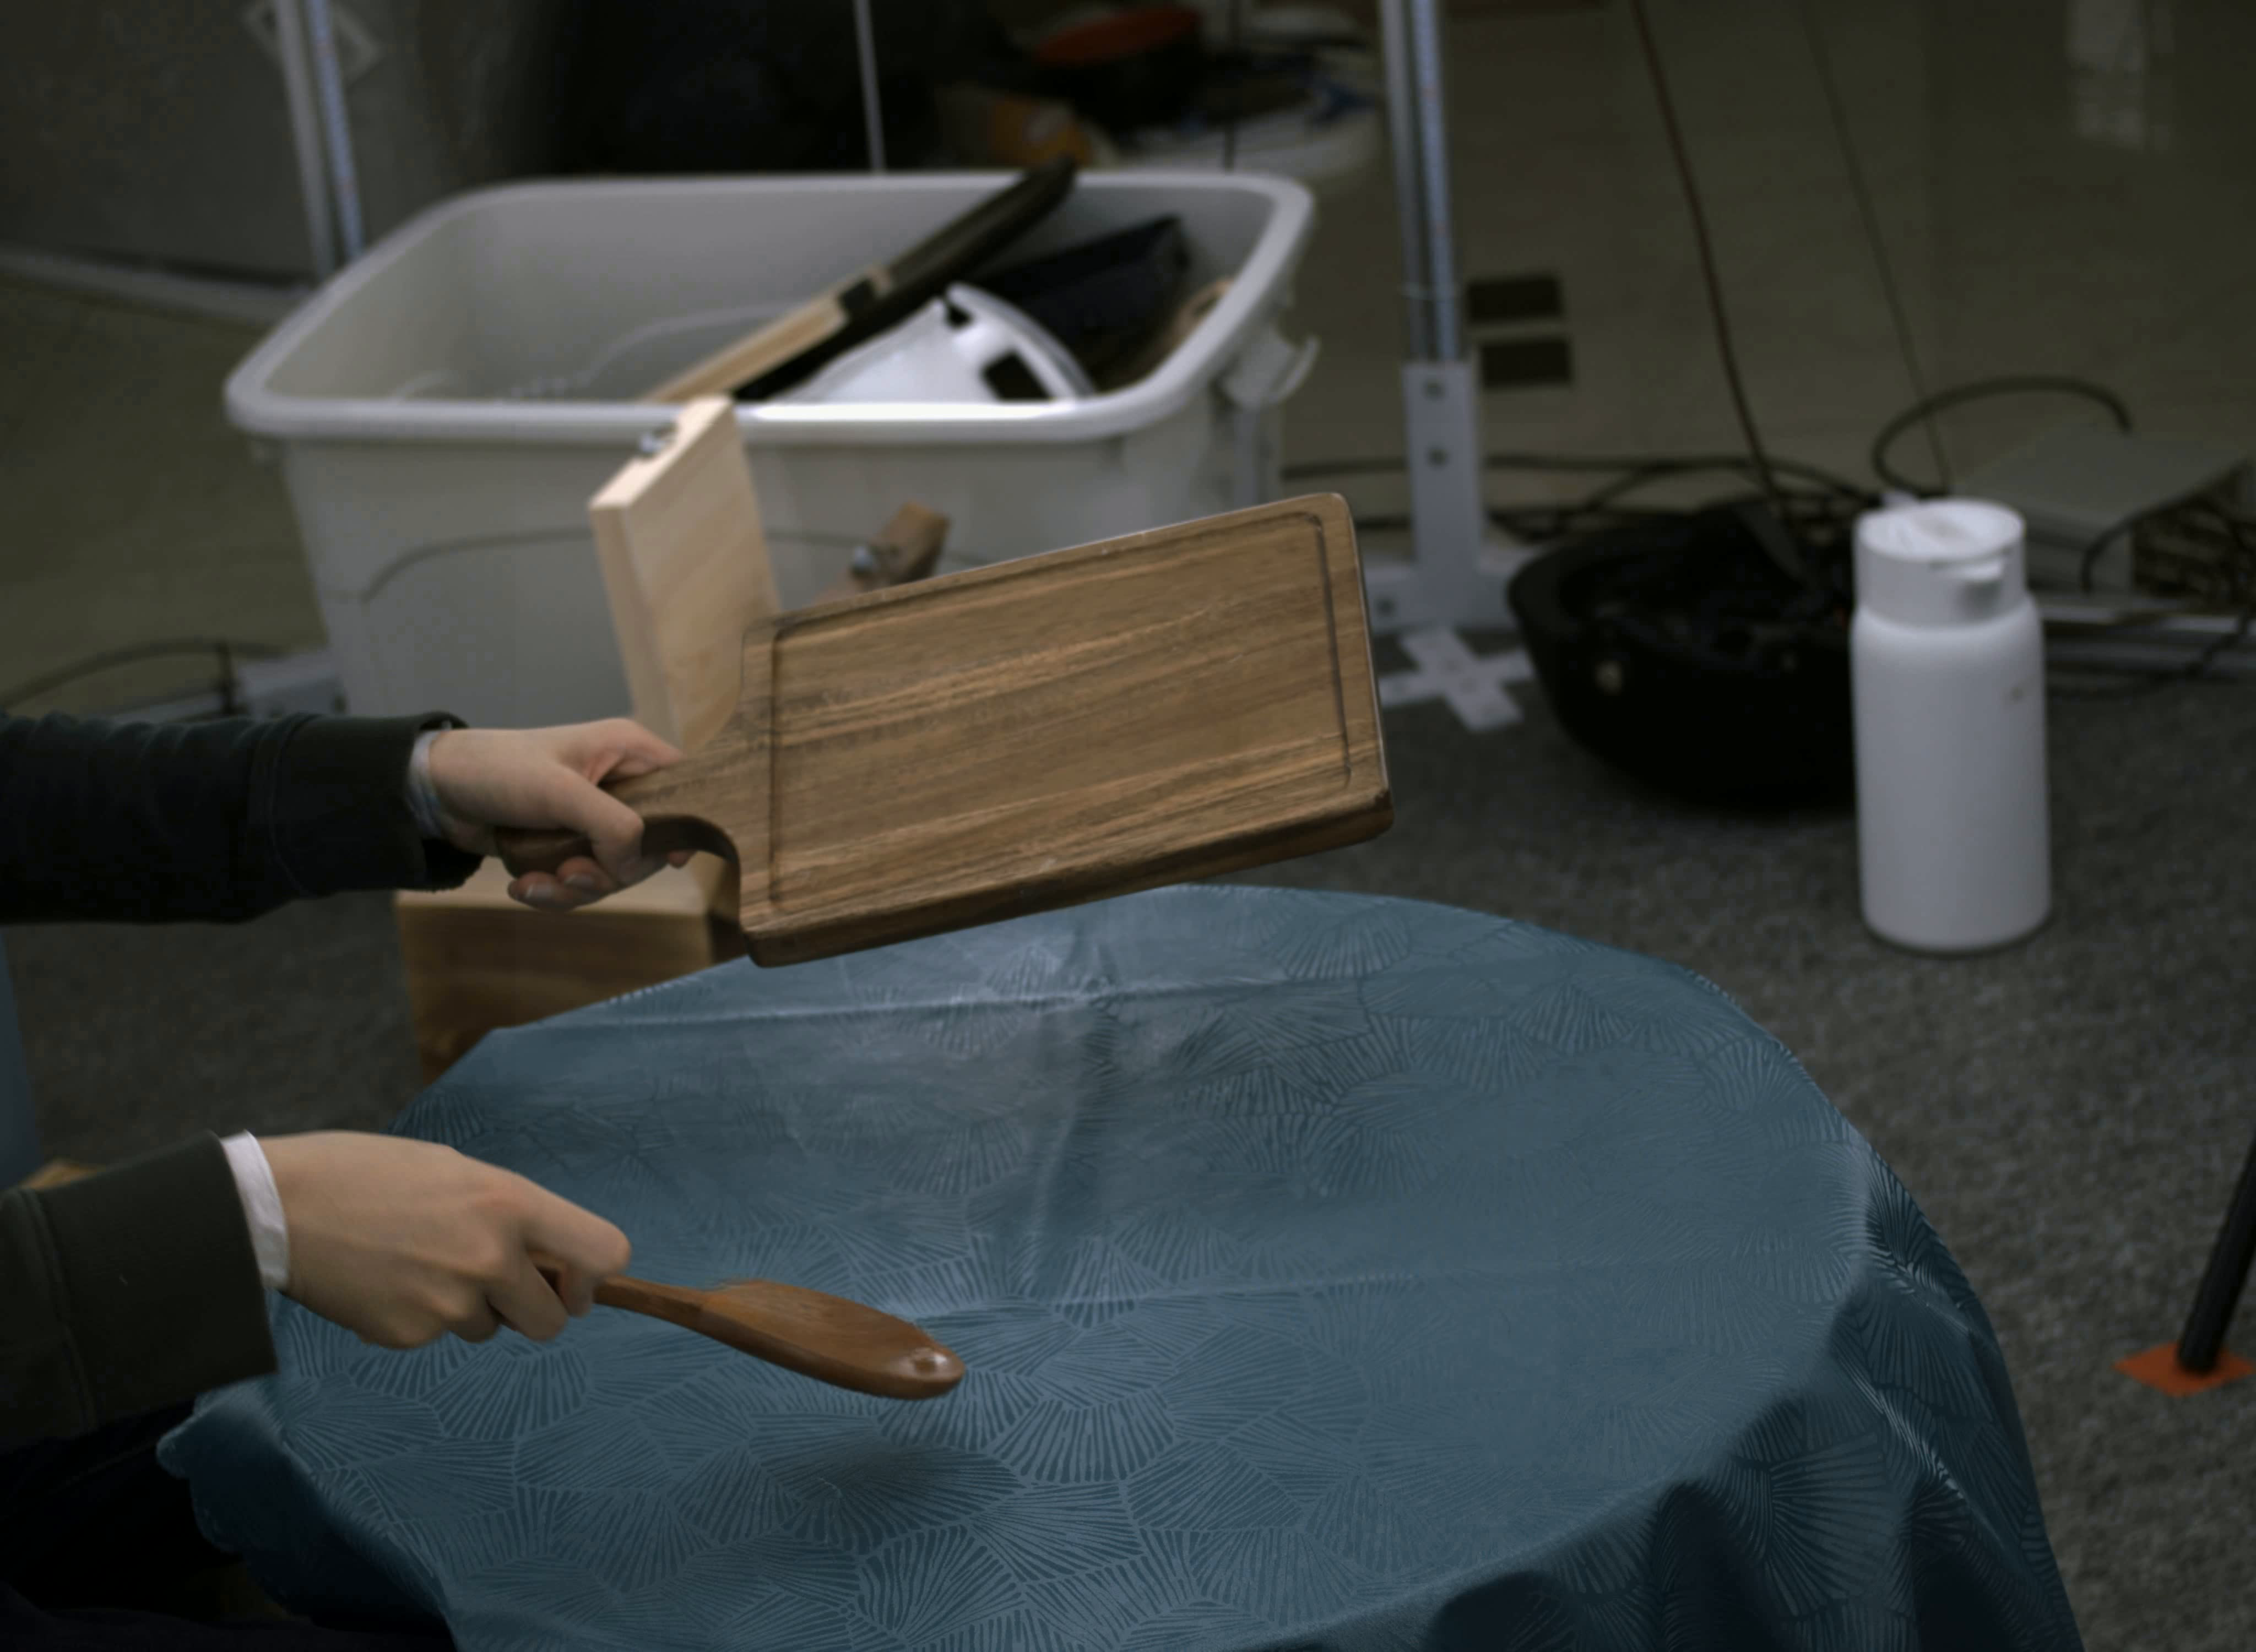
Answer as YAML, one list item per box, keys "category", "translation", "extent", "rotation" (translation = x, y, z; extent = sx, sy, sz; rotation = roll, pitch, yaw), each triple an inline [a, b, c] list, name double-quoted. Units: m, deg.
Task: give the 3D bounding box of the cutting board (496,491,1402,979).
- category: "cutting board"
  translation: [-0.074, -0.028, 2.186]
  extent: [0.352, 0.023, 0.197]
  rotation: [-12, 42, 7]

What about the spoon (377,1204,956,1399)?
- category: "spoon"
  translation: [-0.155, 0.161, 1.930]
  extent: [0.217, 0.017, 0.074]
  rotation: [18, 11, -28]
